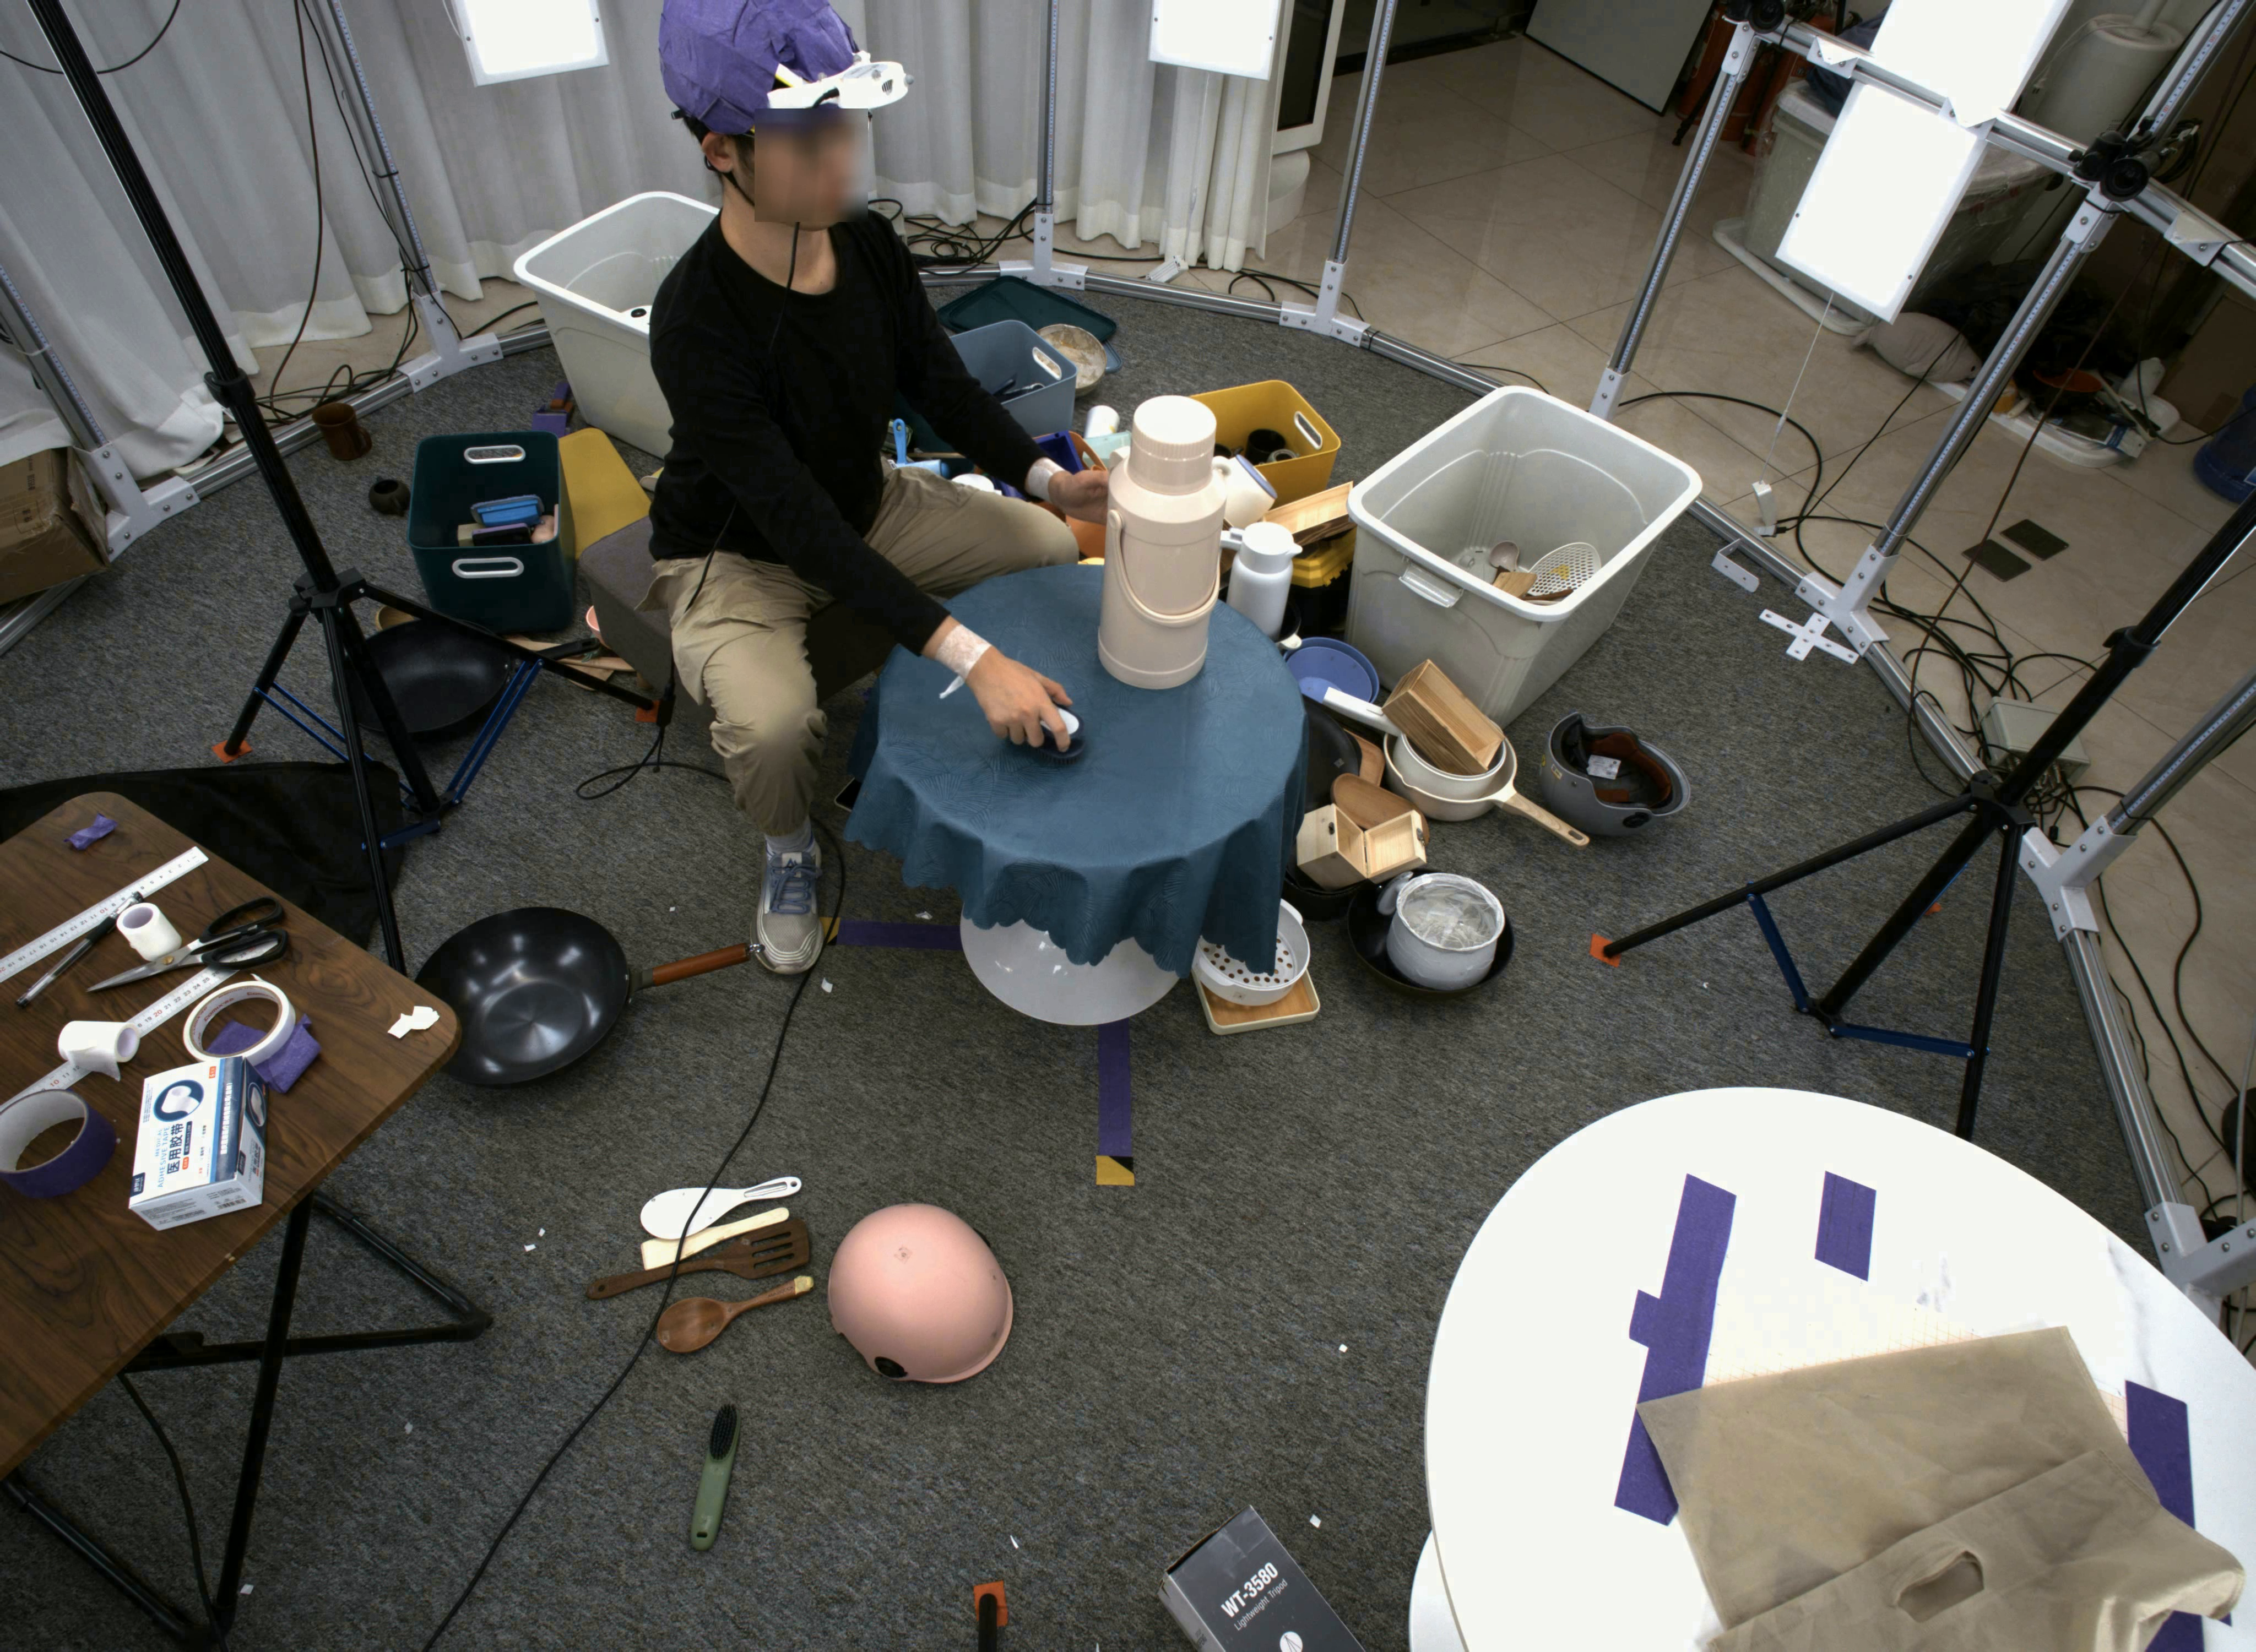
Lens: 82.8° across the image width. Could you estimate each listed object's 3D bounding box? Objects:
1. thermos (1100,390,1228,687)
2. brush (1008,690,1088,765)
[{"bbox_3d":[0.041,-0.394,1.758,0.176,0.396,0.211,-27,57,-23],"label":"thermos"},{"bbox_3d":[-0.108,-0.132,1.741,0.123,0.060,0.068,35,53,23],"label":"brush"}]
